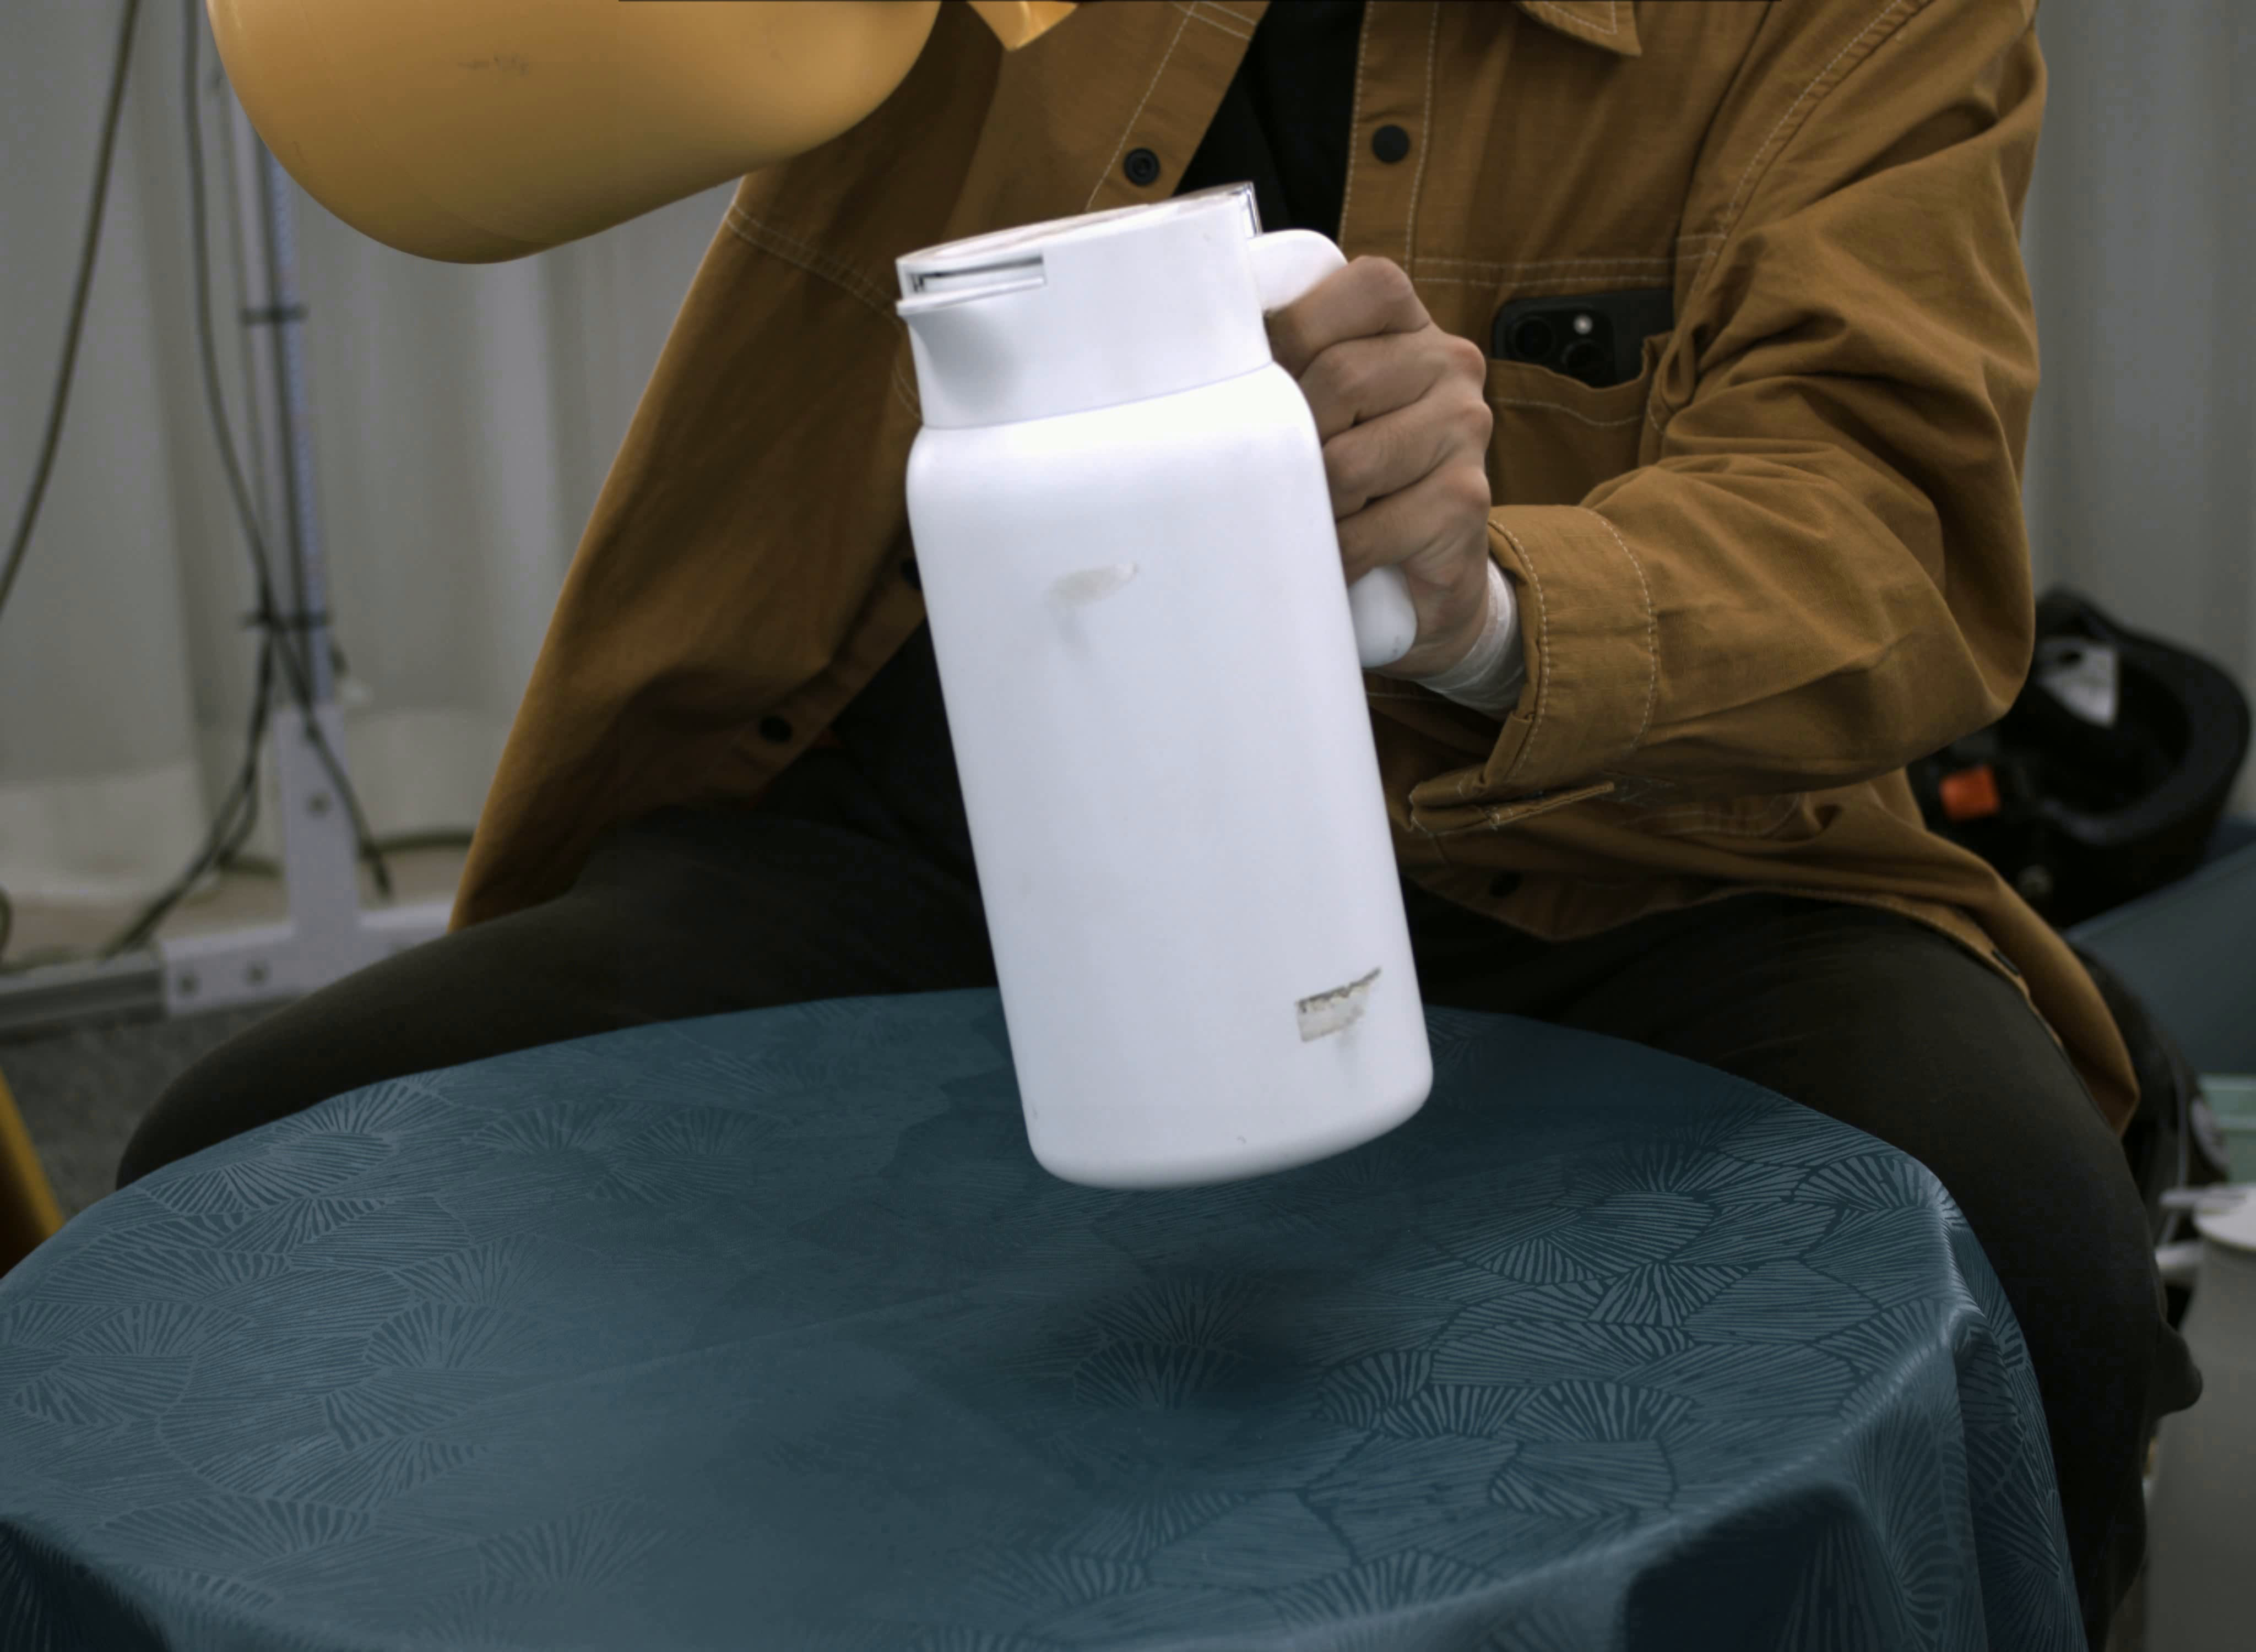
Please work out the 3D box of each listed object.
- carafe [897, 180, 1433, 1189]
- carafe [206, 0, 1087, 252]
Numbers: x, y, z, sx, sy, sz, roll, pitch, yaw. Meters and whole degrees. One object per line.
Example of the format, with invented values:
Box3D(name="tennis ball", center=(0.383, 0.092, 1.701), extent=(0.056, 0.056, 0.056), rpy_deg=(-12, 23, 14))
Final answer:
Box3D(name="carafe", center=(0.017, -0.044, 1.551), extent=(0.124, 0.269, 0.172), rpy_deg=(-6, 9, 42))
Box3D(name="carafe", center=(-0.135, -0.284, 1.556), extent=(0.260, 0.202, 0.164), rpy_deg=(-13, 10, 34))
